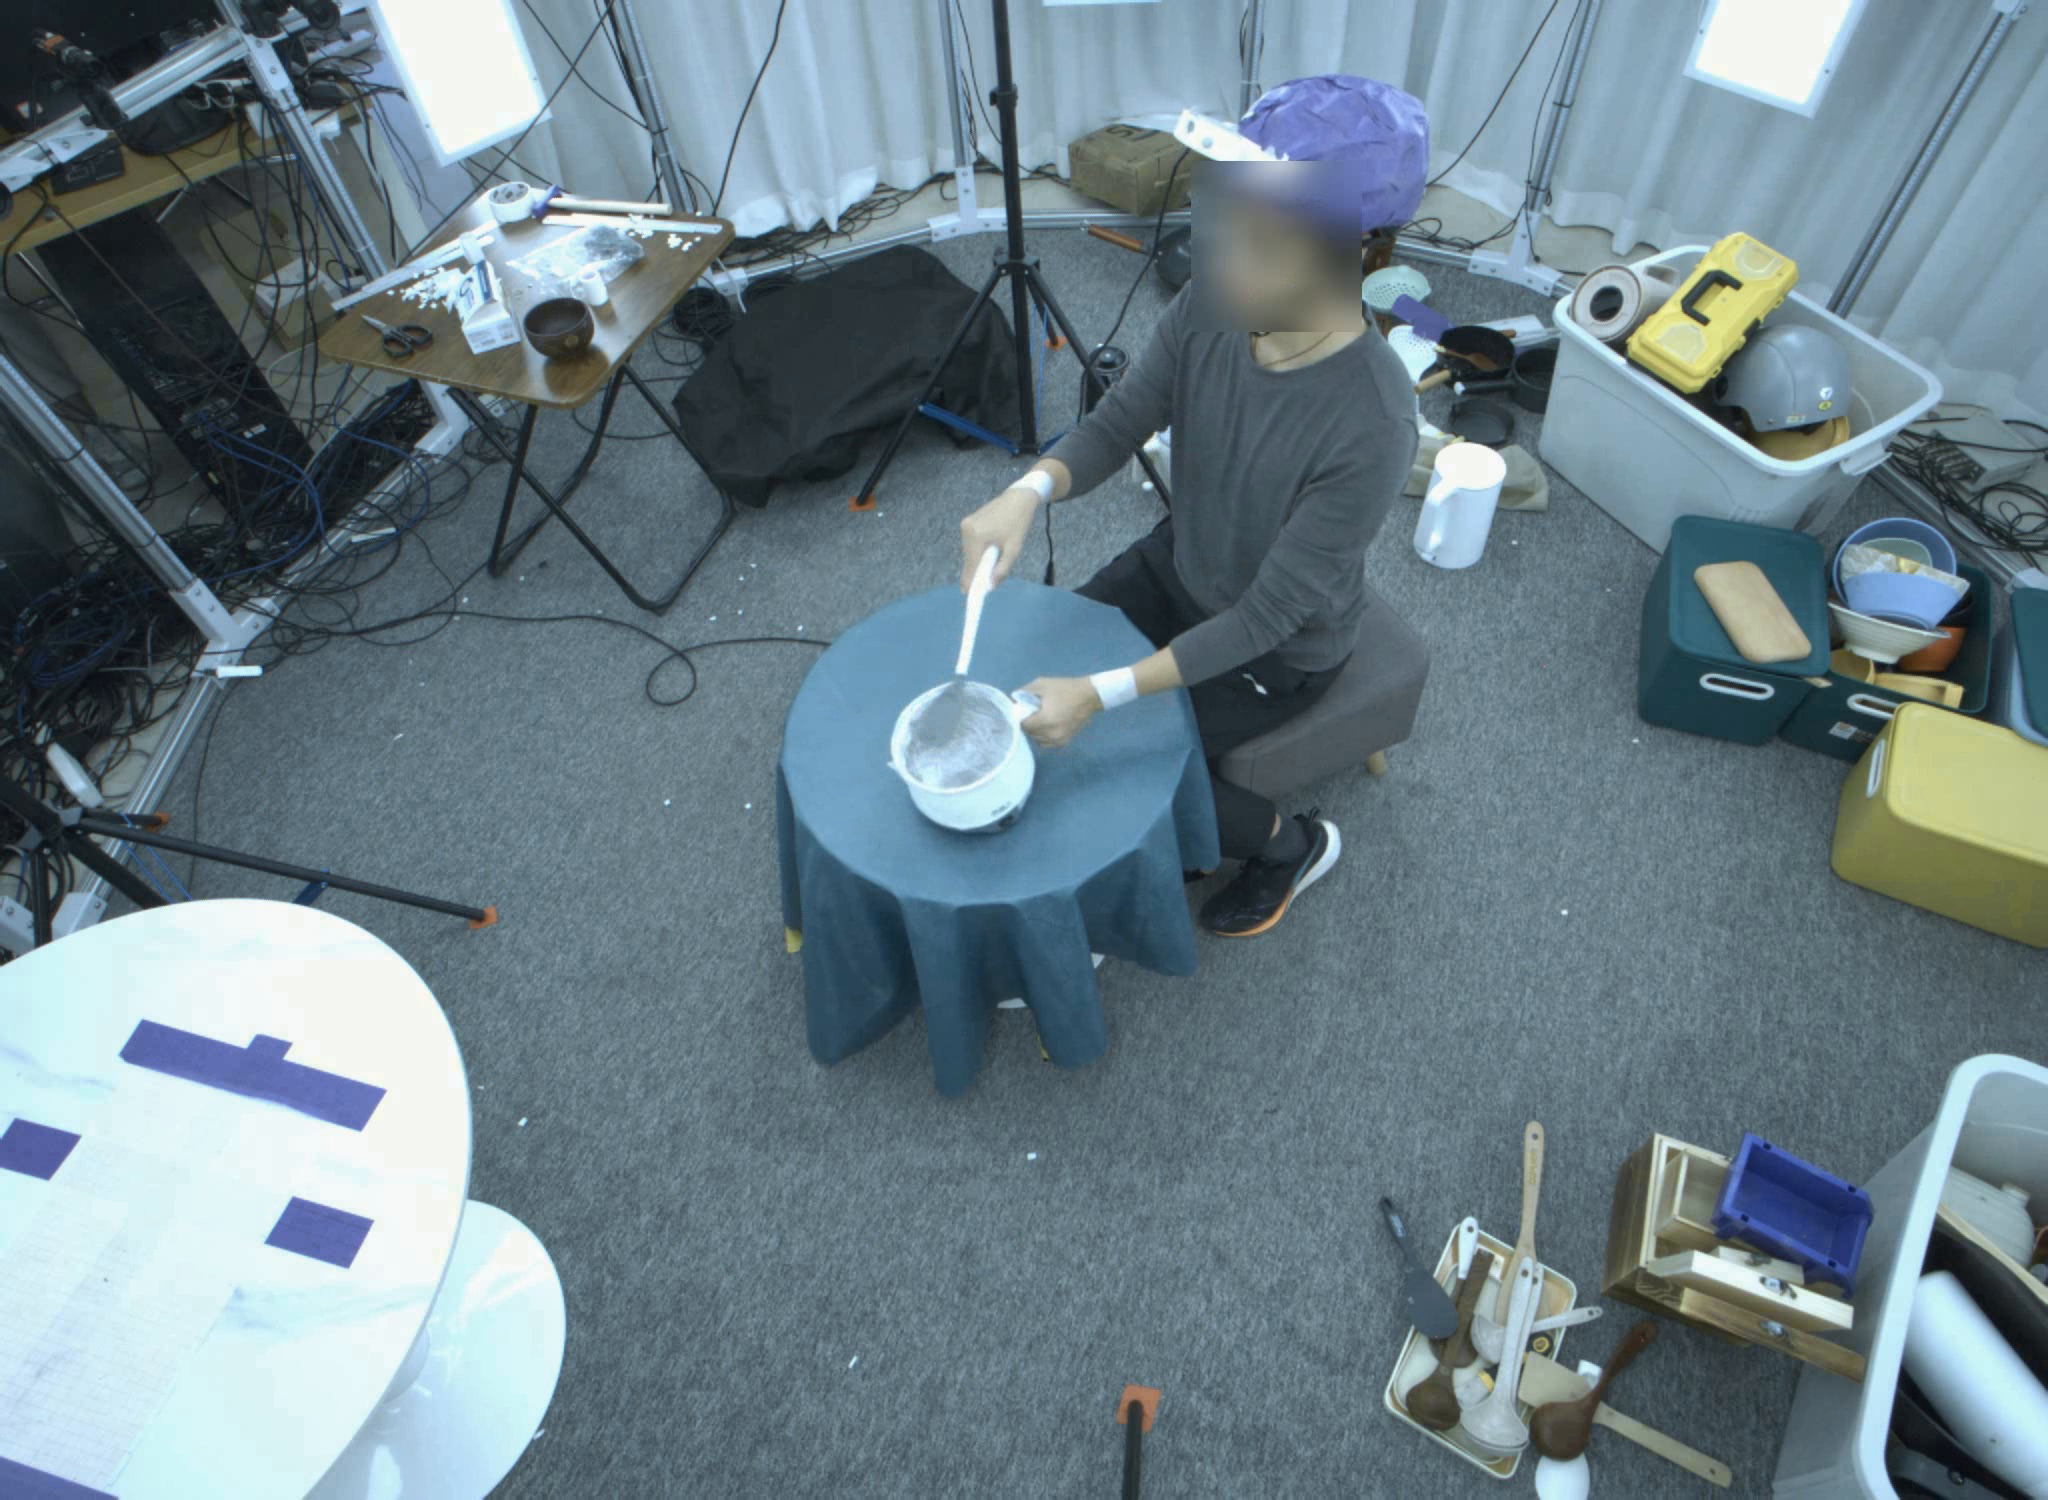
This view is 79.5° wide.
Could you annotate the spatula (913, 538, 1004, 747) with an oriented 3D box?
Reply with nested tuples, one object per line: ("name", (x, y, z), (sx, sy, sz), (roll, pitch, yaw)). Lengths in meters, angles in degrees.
("spatula", (-0.084, -0.143, 1.652), (0.057, 0.033, 0.287), (19, 93, 27))

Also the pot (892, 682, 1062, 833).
("pot", (-0.056, -0.001, 1.699), (0.235, 0.138, 0.175), (-34, 59, -11))
